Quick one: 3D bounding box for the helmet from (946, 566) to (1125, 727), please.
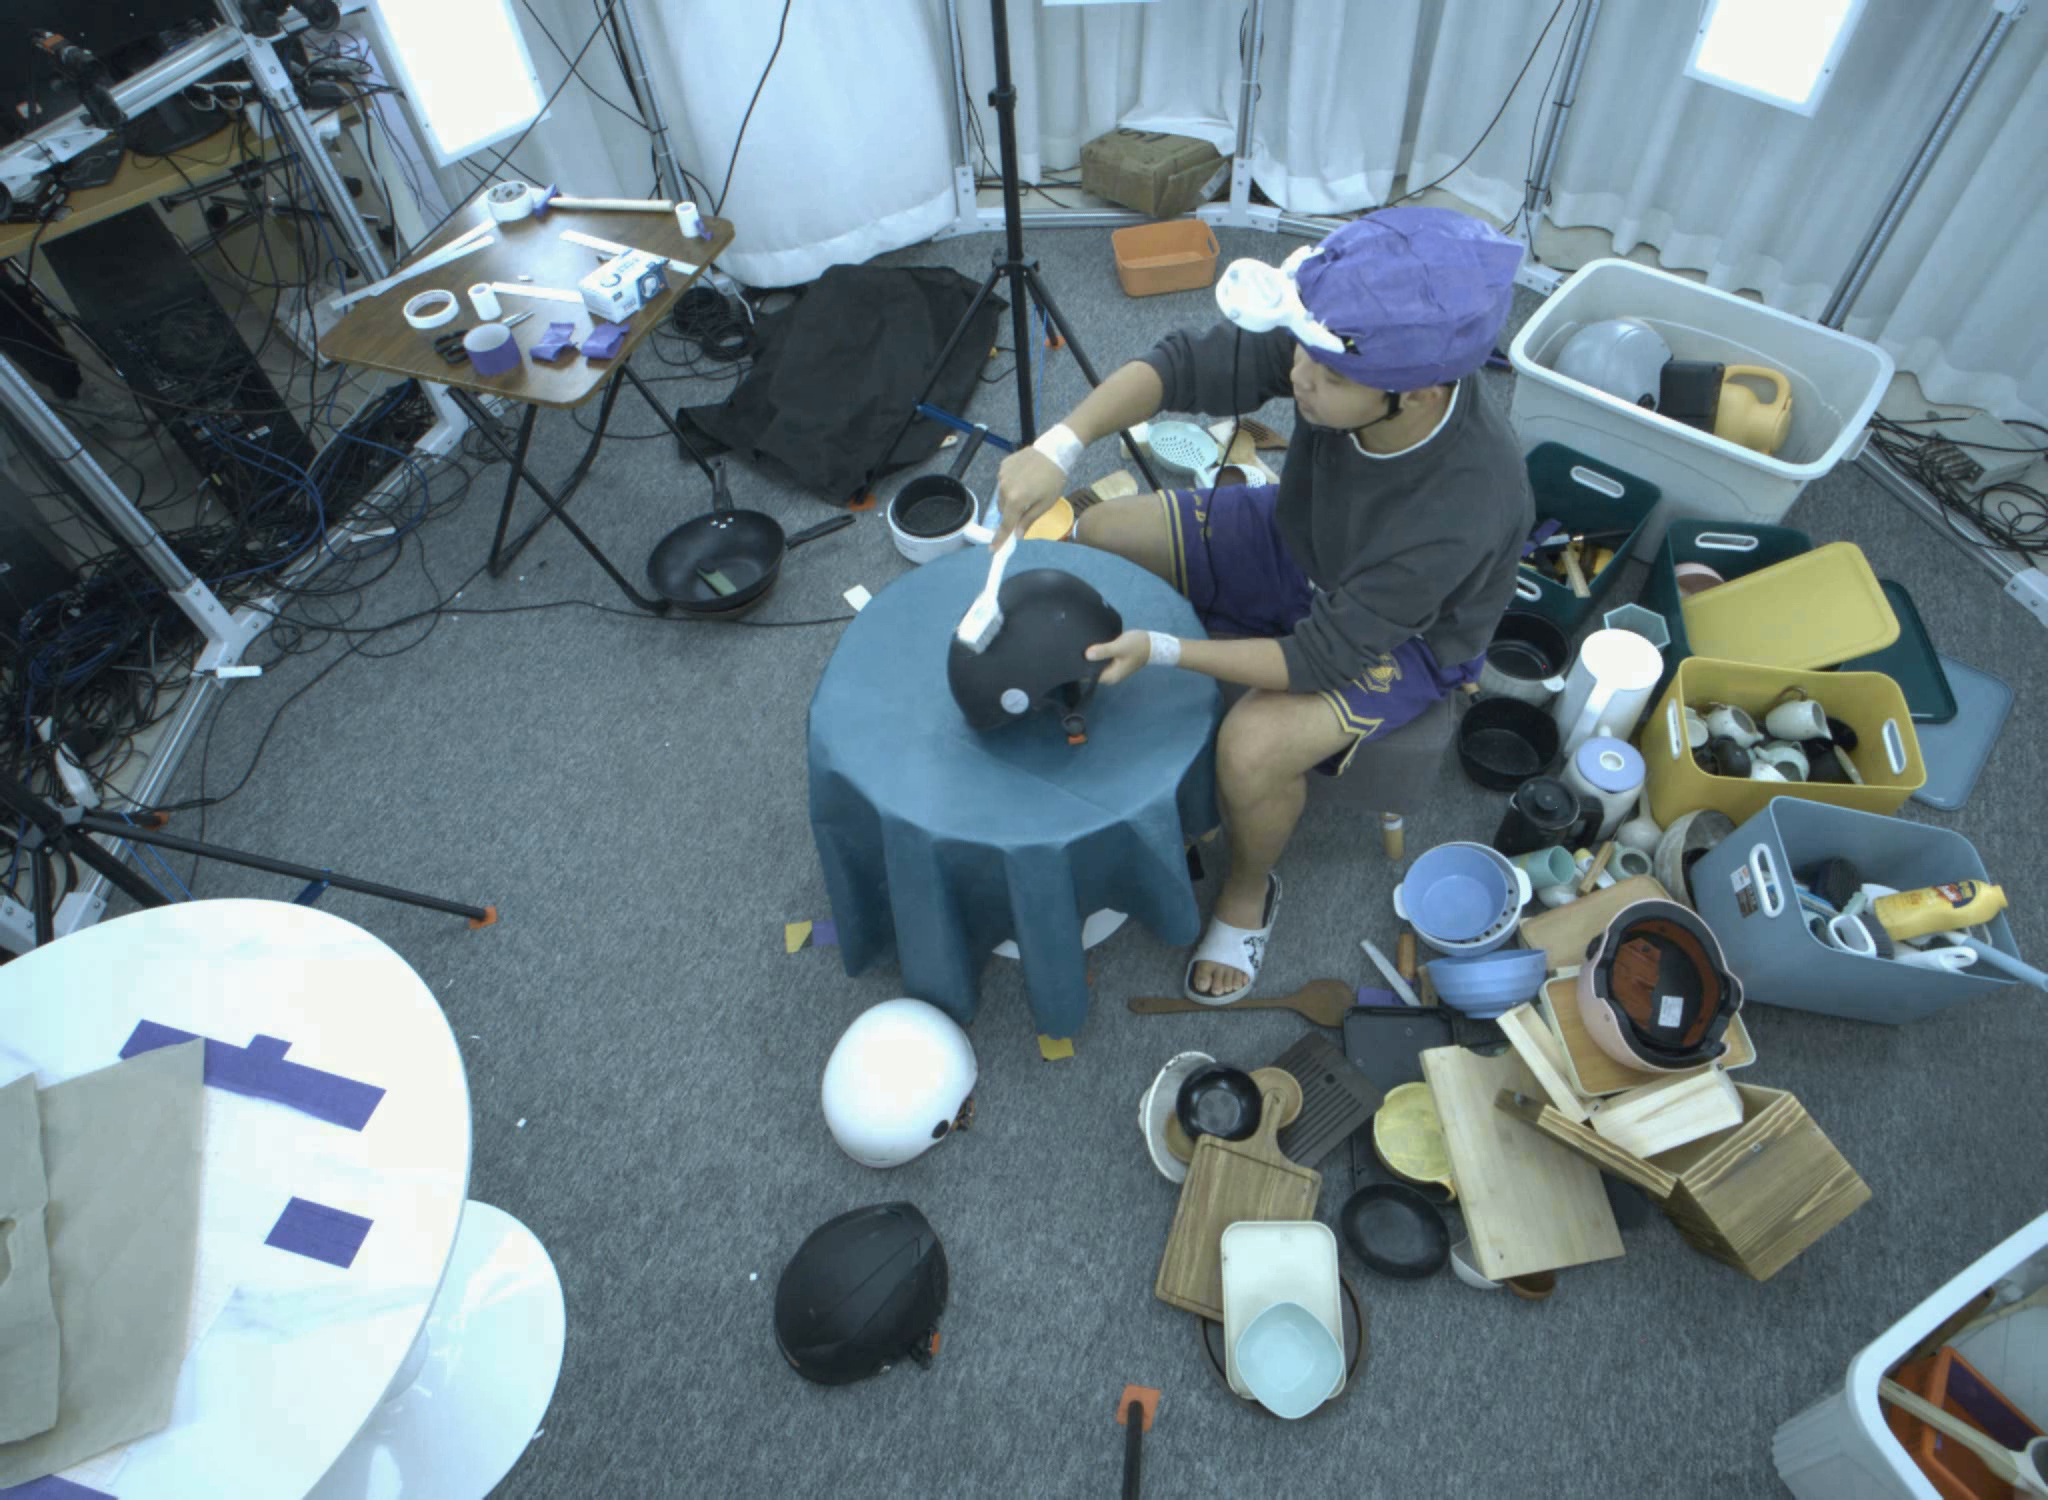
[{"bbox_3d":[-0.003,-0.163,1.751,0.272,0.169,0.227,-26,26,10],"label":"helmet"}]

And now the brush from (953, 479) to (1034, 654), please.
[{"bbox_3d":[-0.030,-0.245,1.638,0.033,0.051,0.243,30,101,36],"label":"brush"}]
